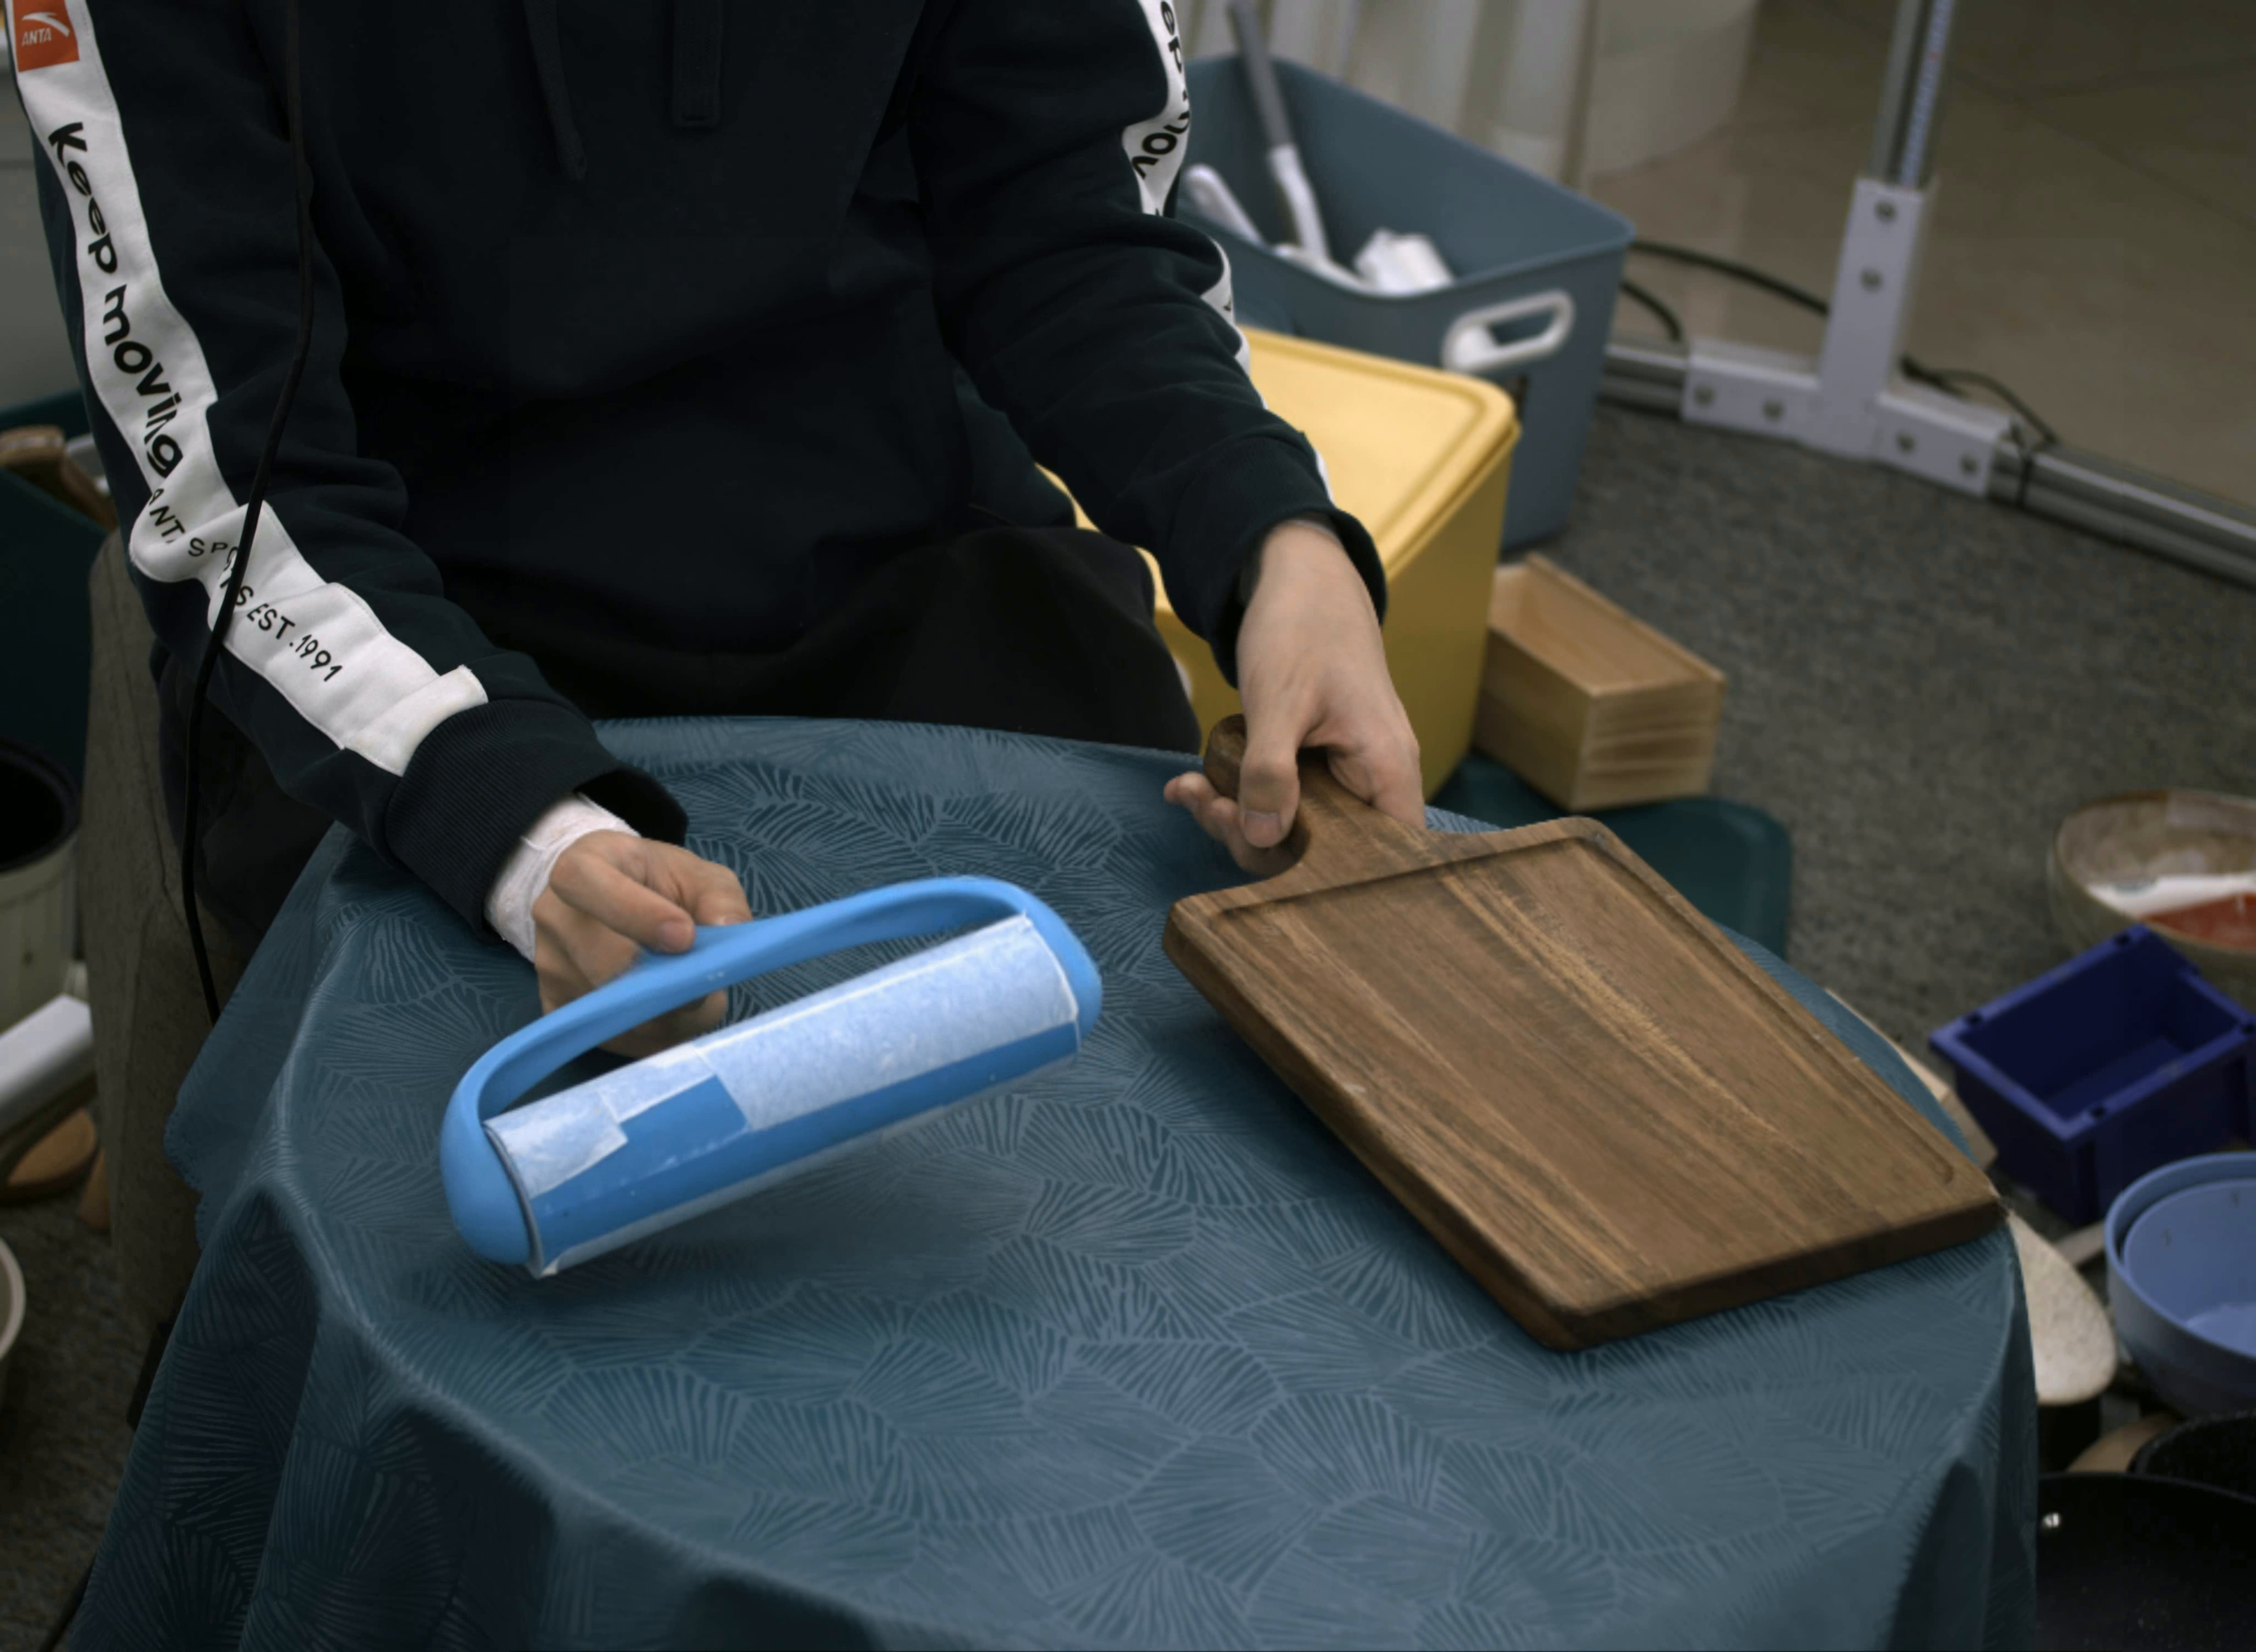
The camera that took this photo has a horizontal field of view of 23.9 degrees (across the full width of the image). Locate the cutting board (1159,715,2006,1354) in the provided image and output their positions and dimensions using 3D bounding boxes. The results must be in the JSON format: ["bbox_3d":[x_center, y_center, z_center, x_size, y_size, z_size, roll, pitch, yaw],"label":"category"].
[{"bbox_3d":[0.130,0.058,1.893,0.200,0.023,0.355,-11,38,-32],"label":"cutting board"}]

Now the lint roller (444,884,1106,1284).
[{"bbox_3d":[-0.138,0.069,1.769,0.228,0.067,0.182,-23,28,-20],"label":"lint roller"}]
